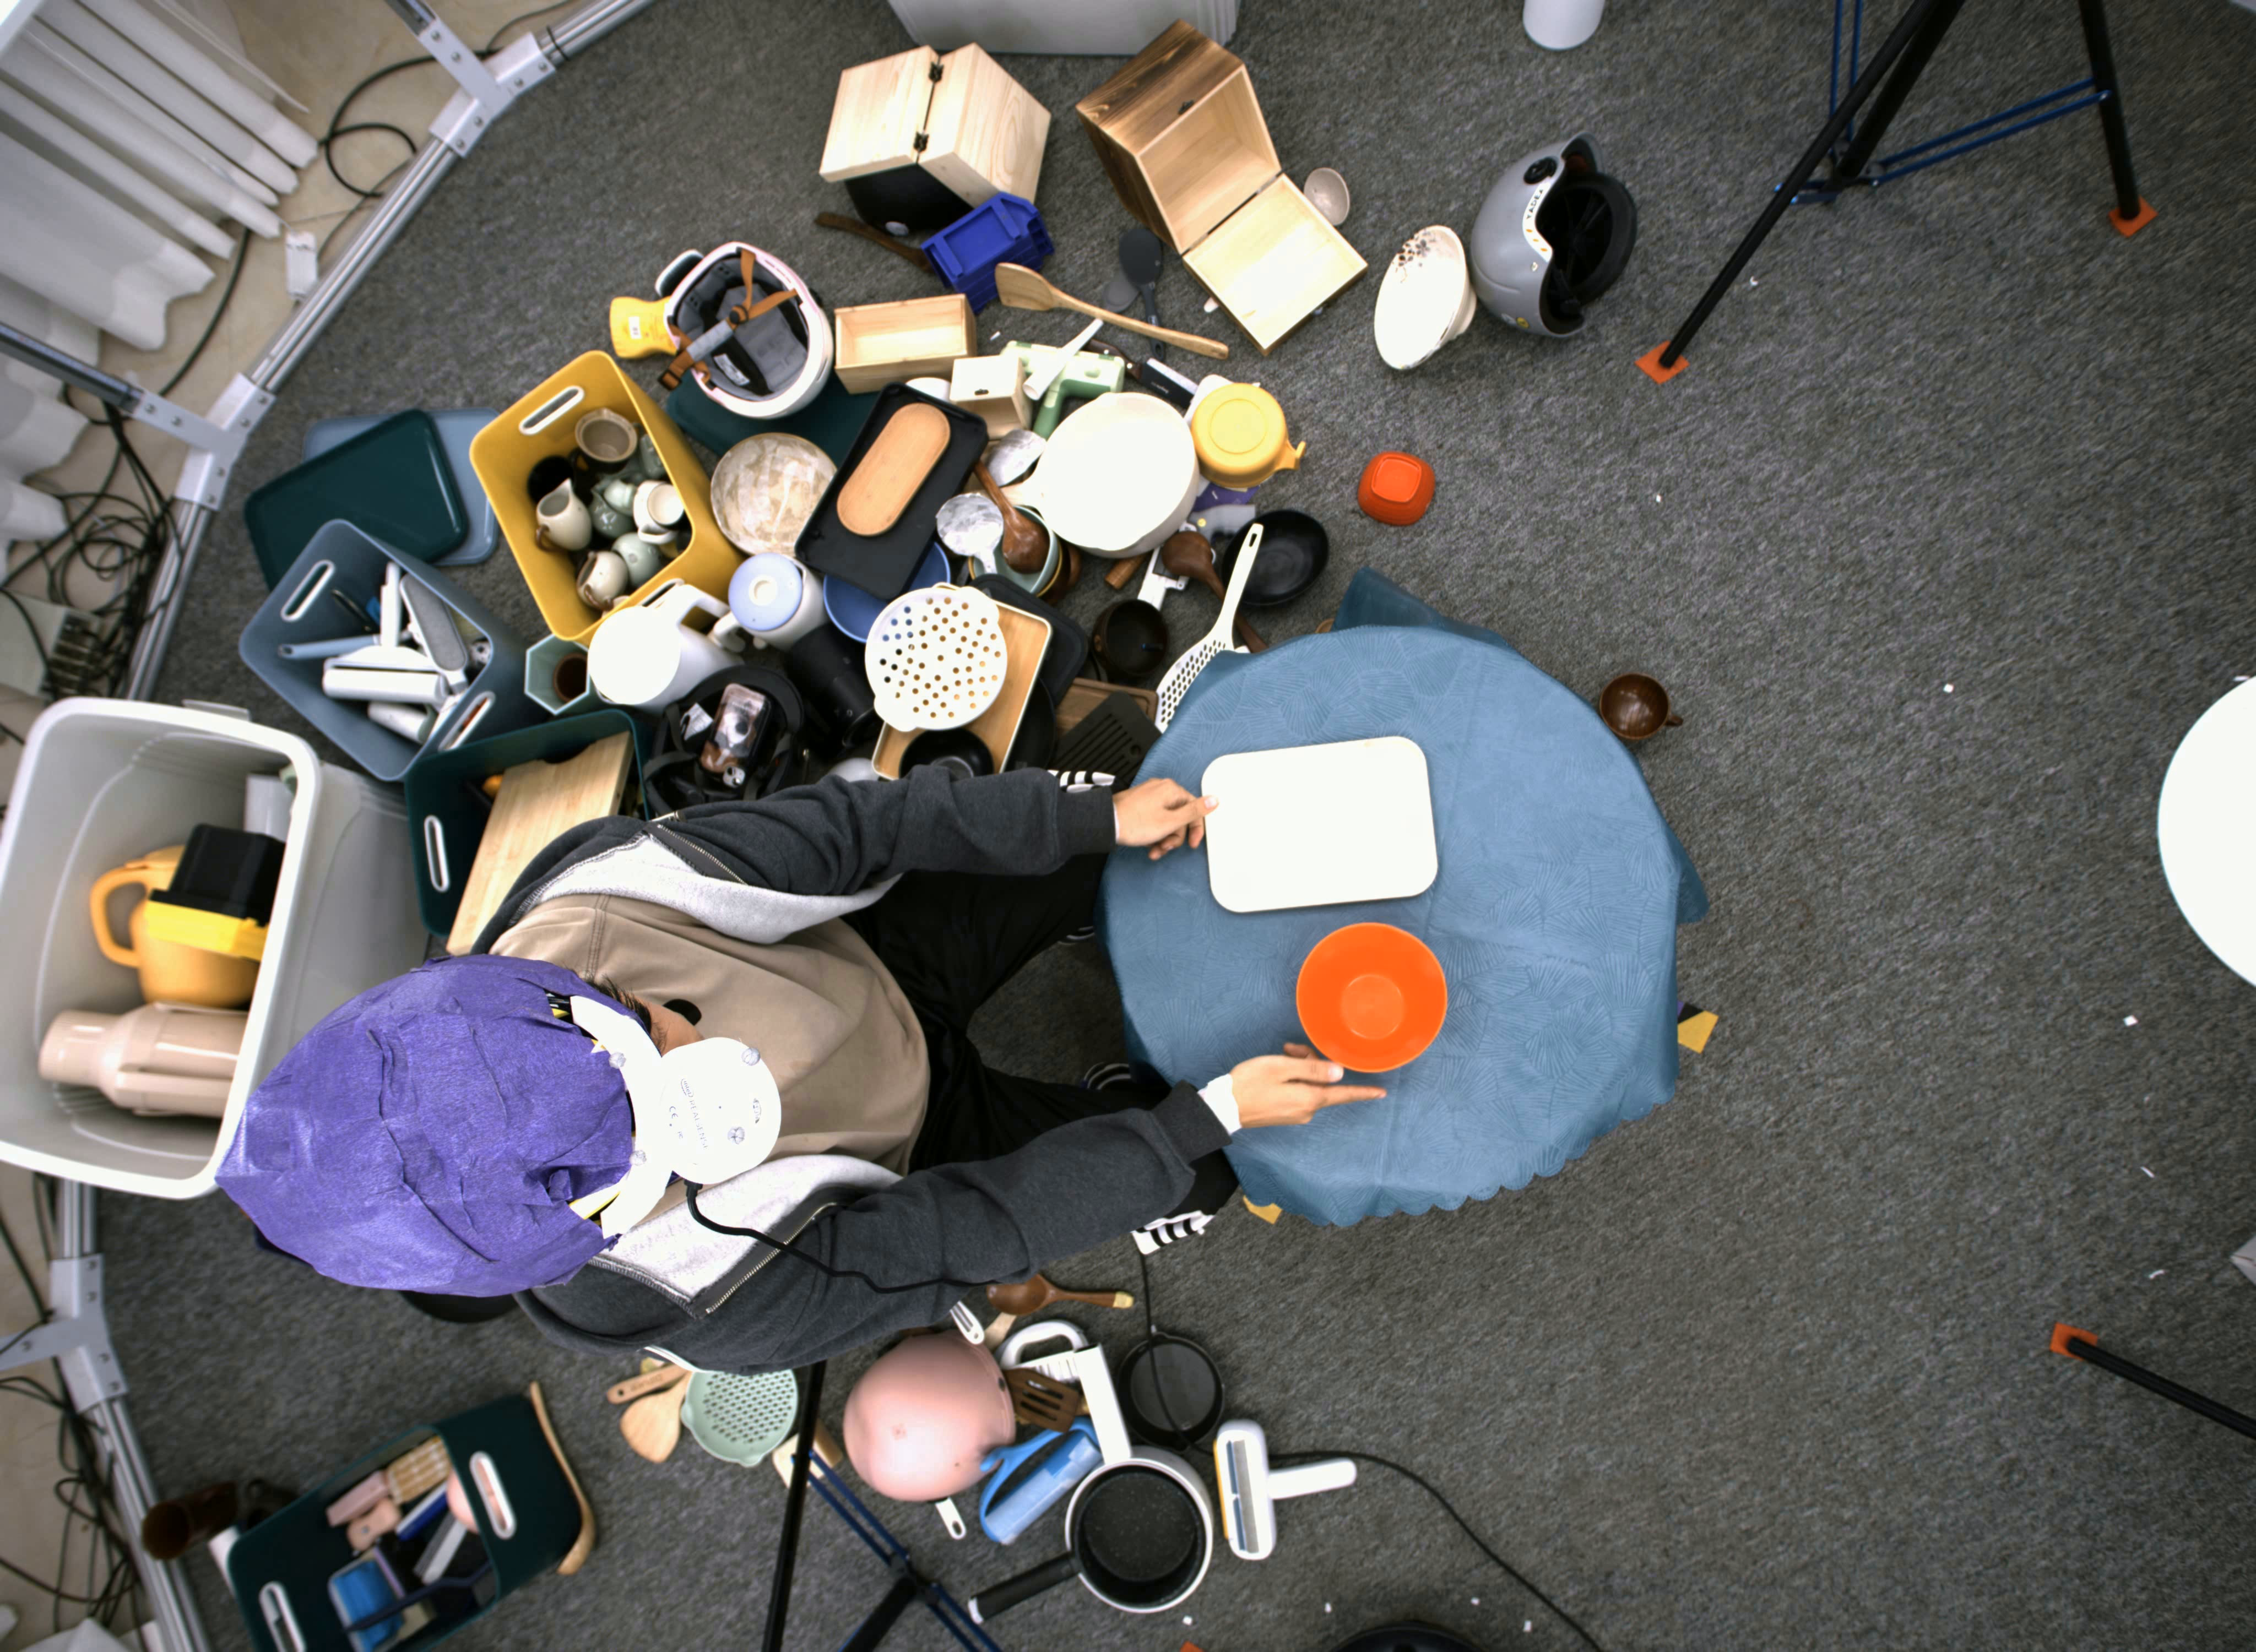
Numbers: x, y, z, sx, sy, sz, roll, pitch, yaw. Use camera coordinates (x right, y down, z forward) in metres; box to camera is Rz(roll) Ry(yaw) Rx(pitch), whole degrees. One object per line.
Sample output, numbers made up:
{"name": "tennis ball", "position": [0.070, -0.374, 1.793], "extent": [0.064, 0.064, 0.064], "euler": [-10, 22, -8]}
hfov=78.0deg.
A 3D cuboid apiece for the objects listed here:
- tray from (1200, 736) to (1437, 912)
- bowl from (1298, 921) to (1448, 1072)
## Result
{"name": "tray", "position": [0.201, -0.002, 1.467], "extent": [0.241, 0.017, 0.170], "euler": [-6, 86, 10]}
{"name": "bowl", "position": [0.248, 0.172, 1.407], "extent": [0.148, 0.105, 0.147], "euler": [-1, 85, 9]}
